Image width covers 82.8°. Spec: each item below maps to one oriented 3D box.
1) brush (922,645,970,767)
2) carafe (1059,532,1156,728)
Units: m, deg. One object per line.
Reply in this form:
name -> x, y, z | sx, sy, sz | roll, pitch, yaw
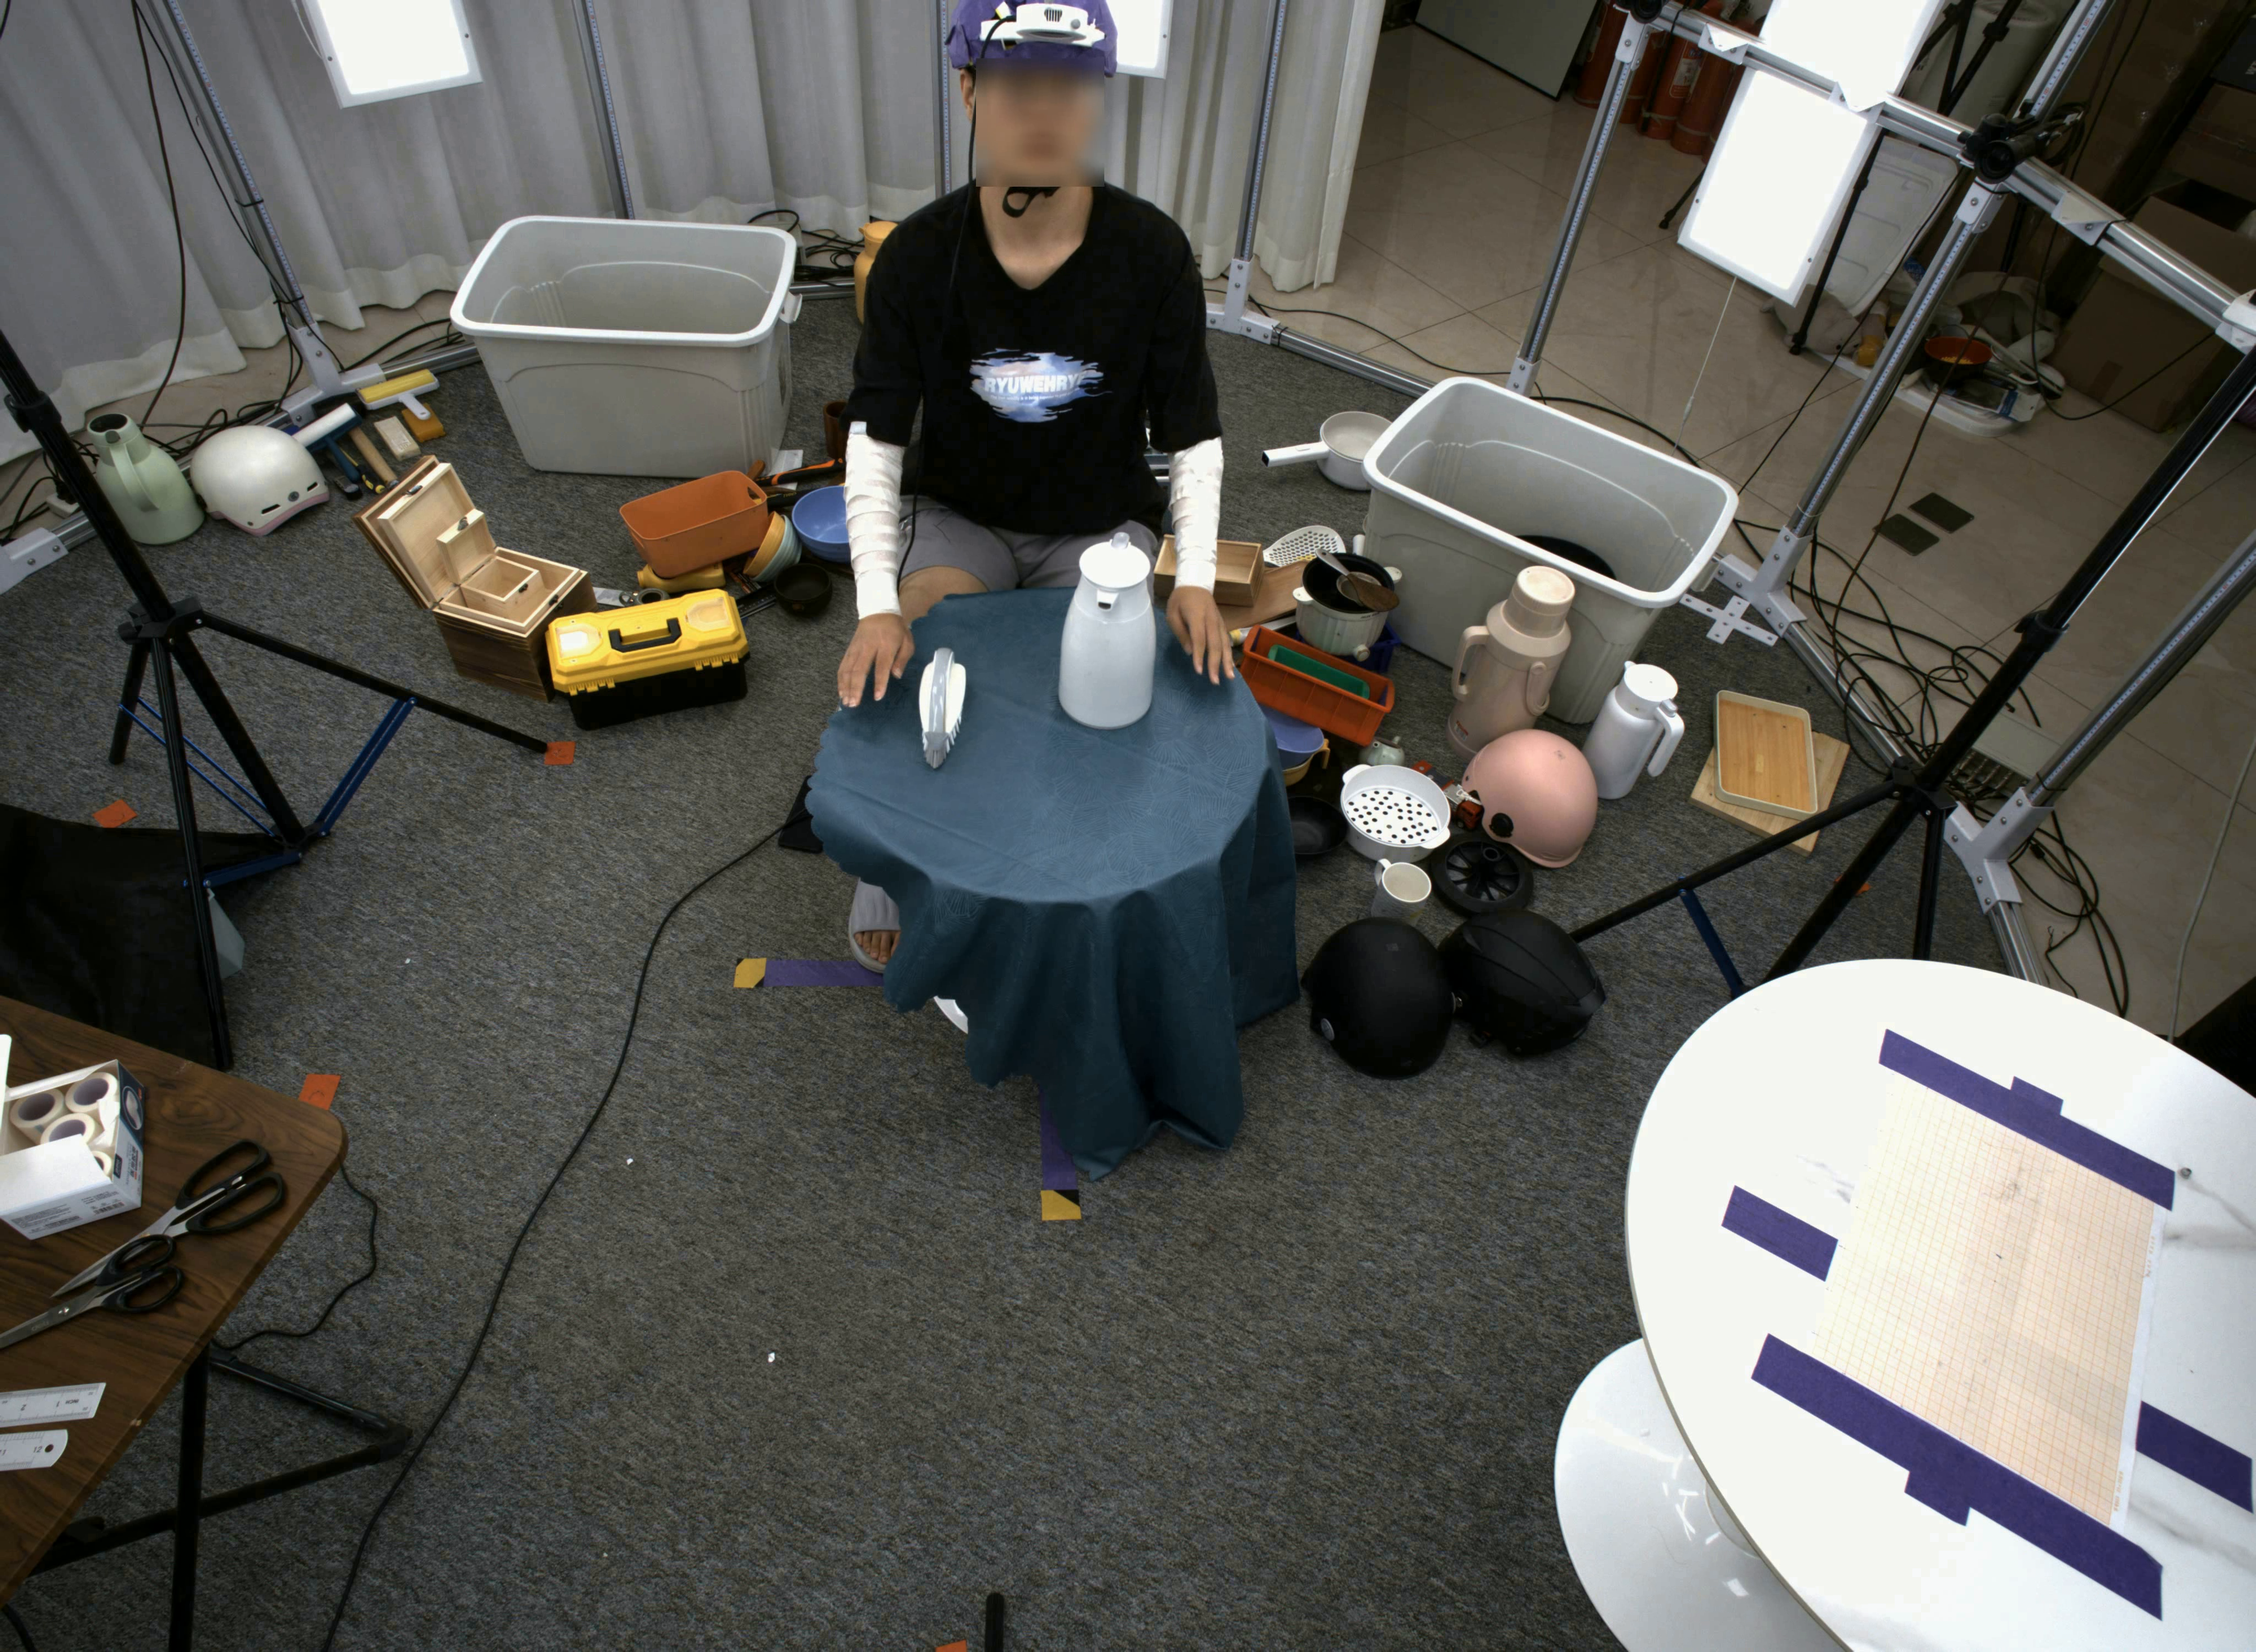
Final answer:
brush -> -0.251, -0.172, 1.747 | 0.061, 0.092, 0.180 | 1, 51, 0
carafe -> -0.023, -0.279, 1.753 | 0.132, 0.242, 0.171 | 9, 49, 4
